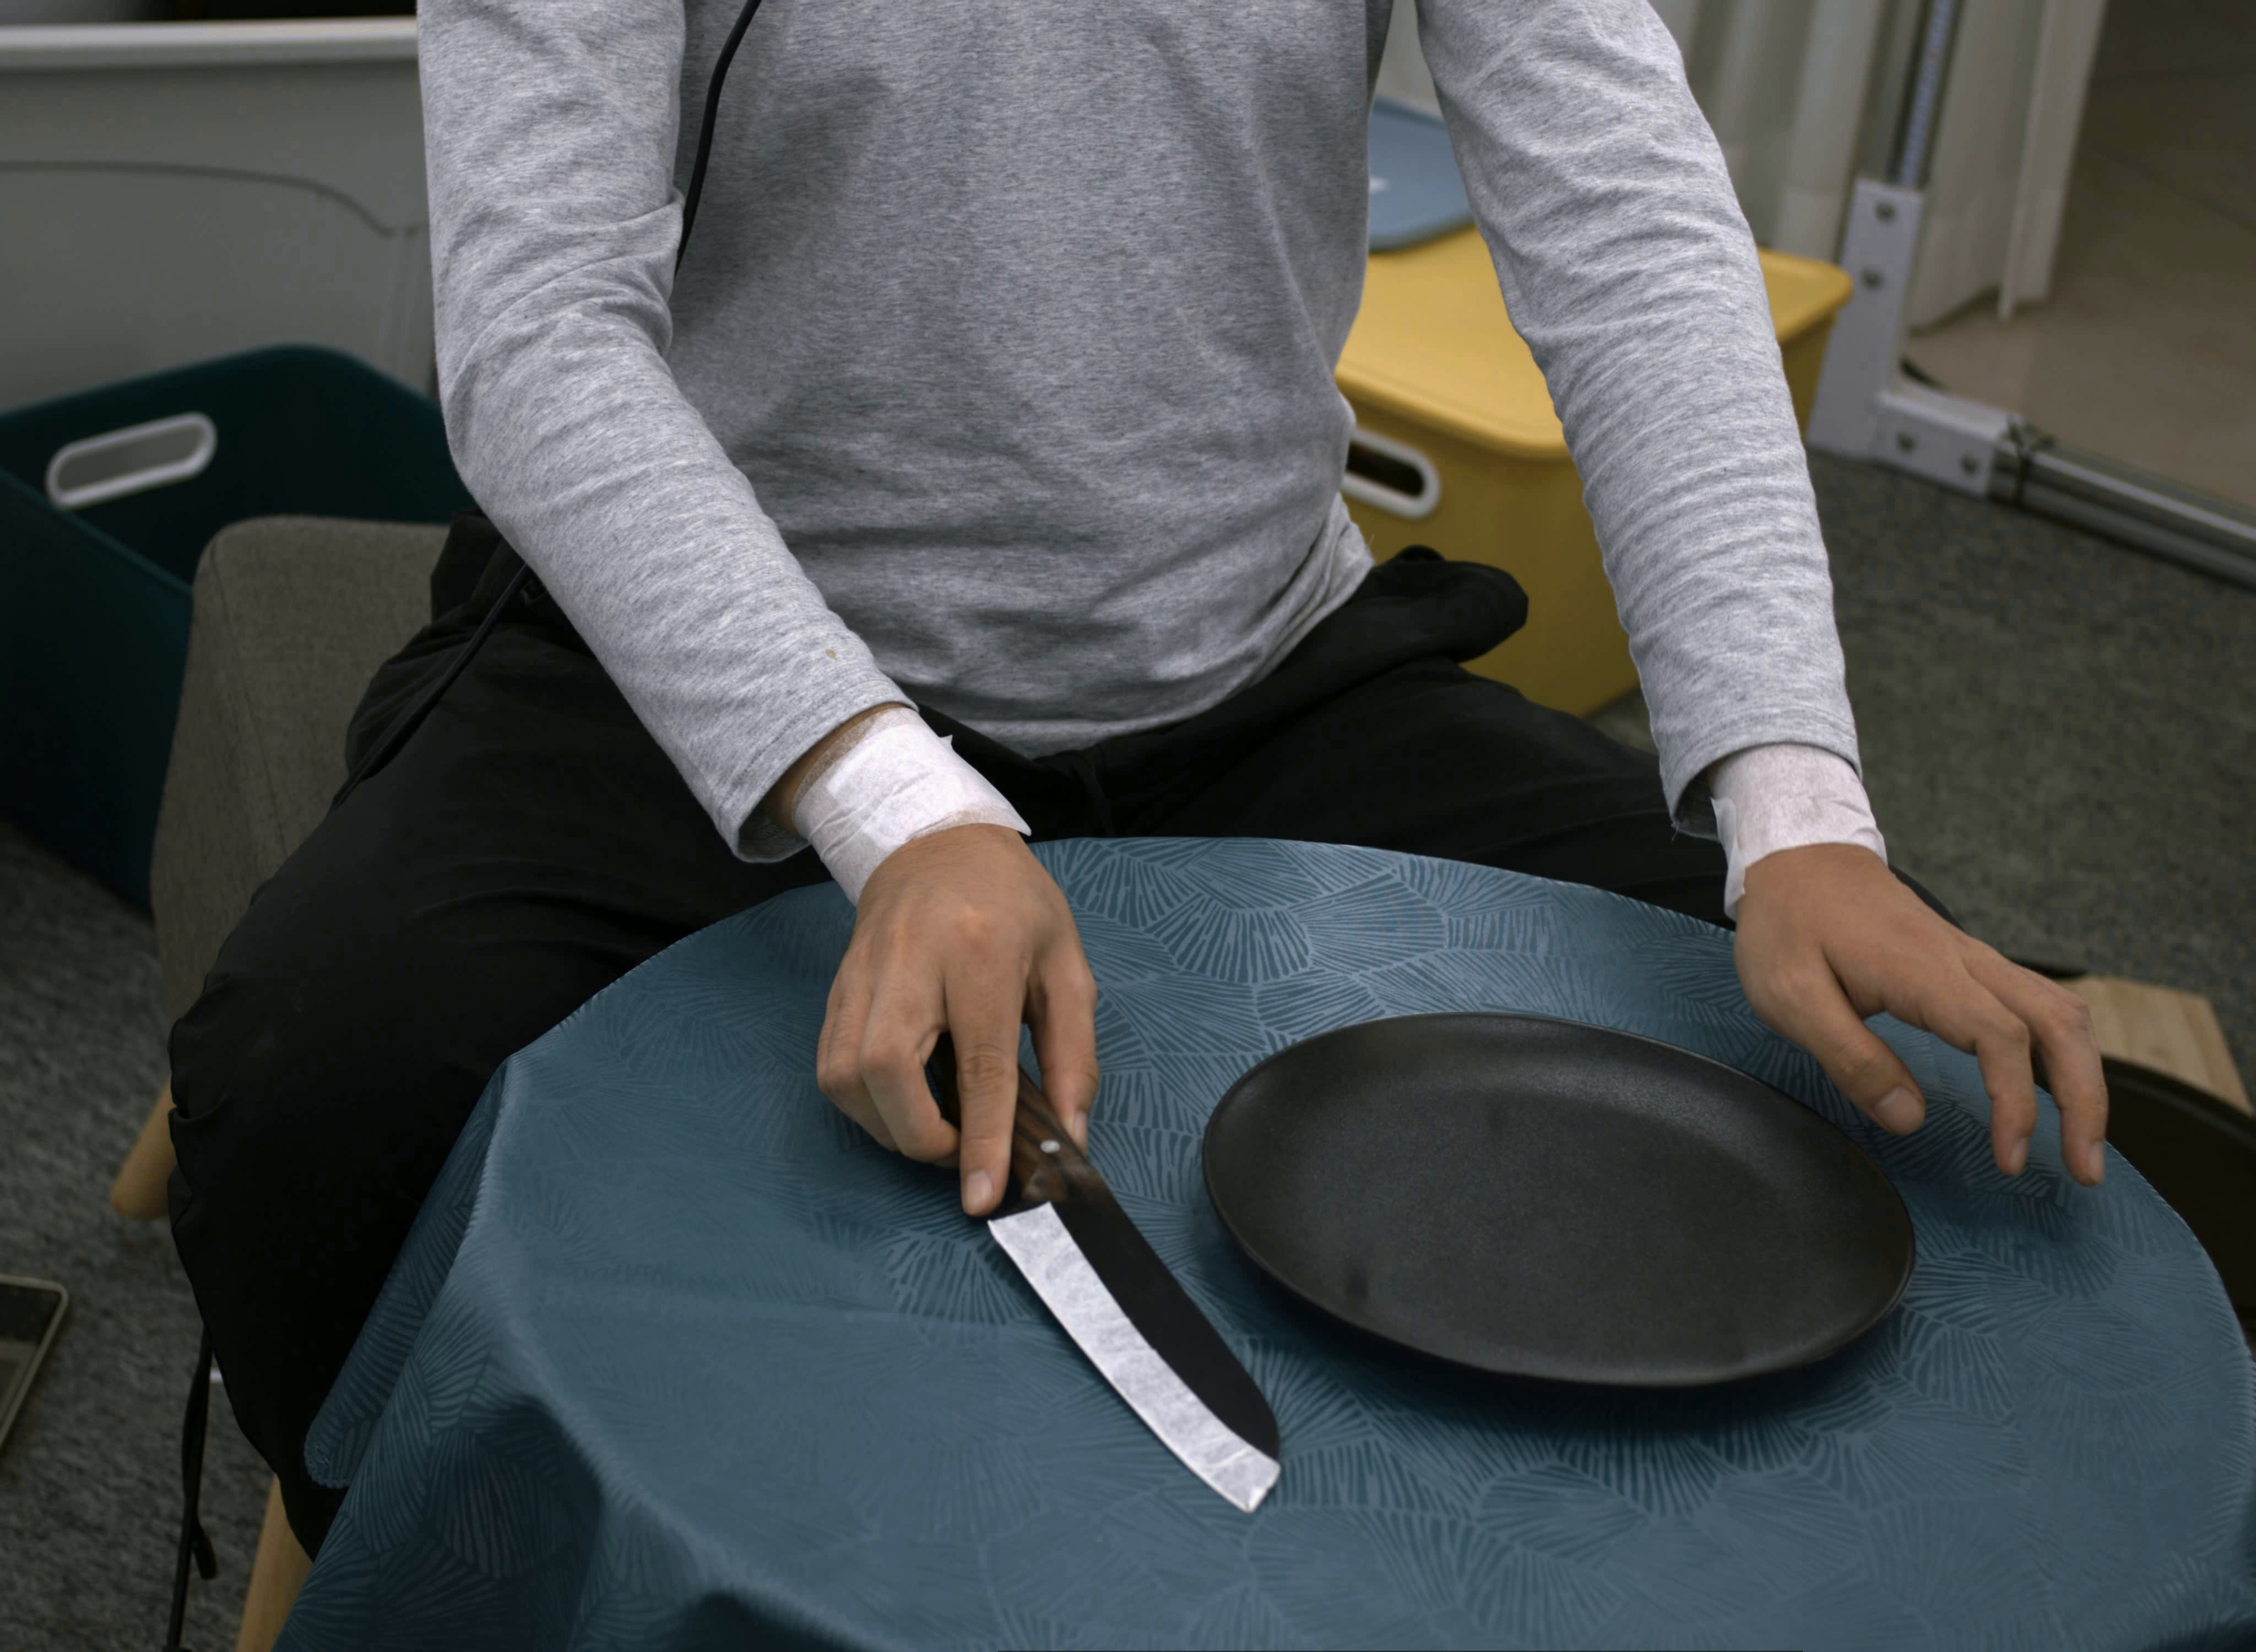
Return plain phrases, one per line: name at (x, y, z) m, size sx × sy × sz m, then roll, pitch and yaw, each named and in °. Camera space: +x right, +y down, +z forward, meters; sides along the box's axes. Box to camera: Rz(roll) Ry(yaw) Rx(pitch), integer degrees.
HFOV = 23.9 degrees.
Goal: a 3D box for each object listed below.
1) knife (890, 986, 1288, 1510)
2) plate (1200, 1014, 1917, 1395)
knife at (-0.016, 0.137, 1.751) m, size 0.050 × 0.020 × 0.292 m, roll -16°, pitch 37°, yaw -18°
plate at (0.144, 0.131, 1.798) m, size 0.243 × 0.023 × 0.246 m, roll 5°, pitch 27°, yaw -3°
